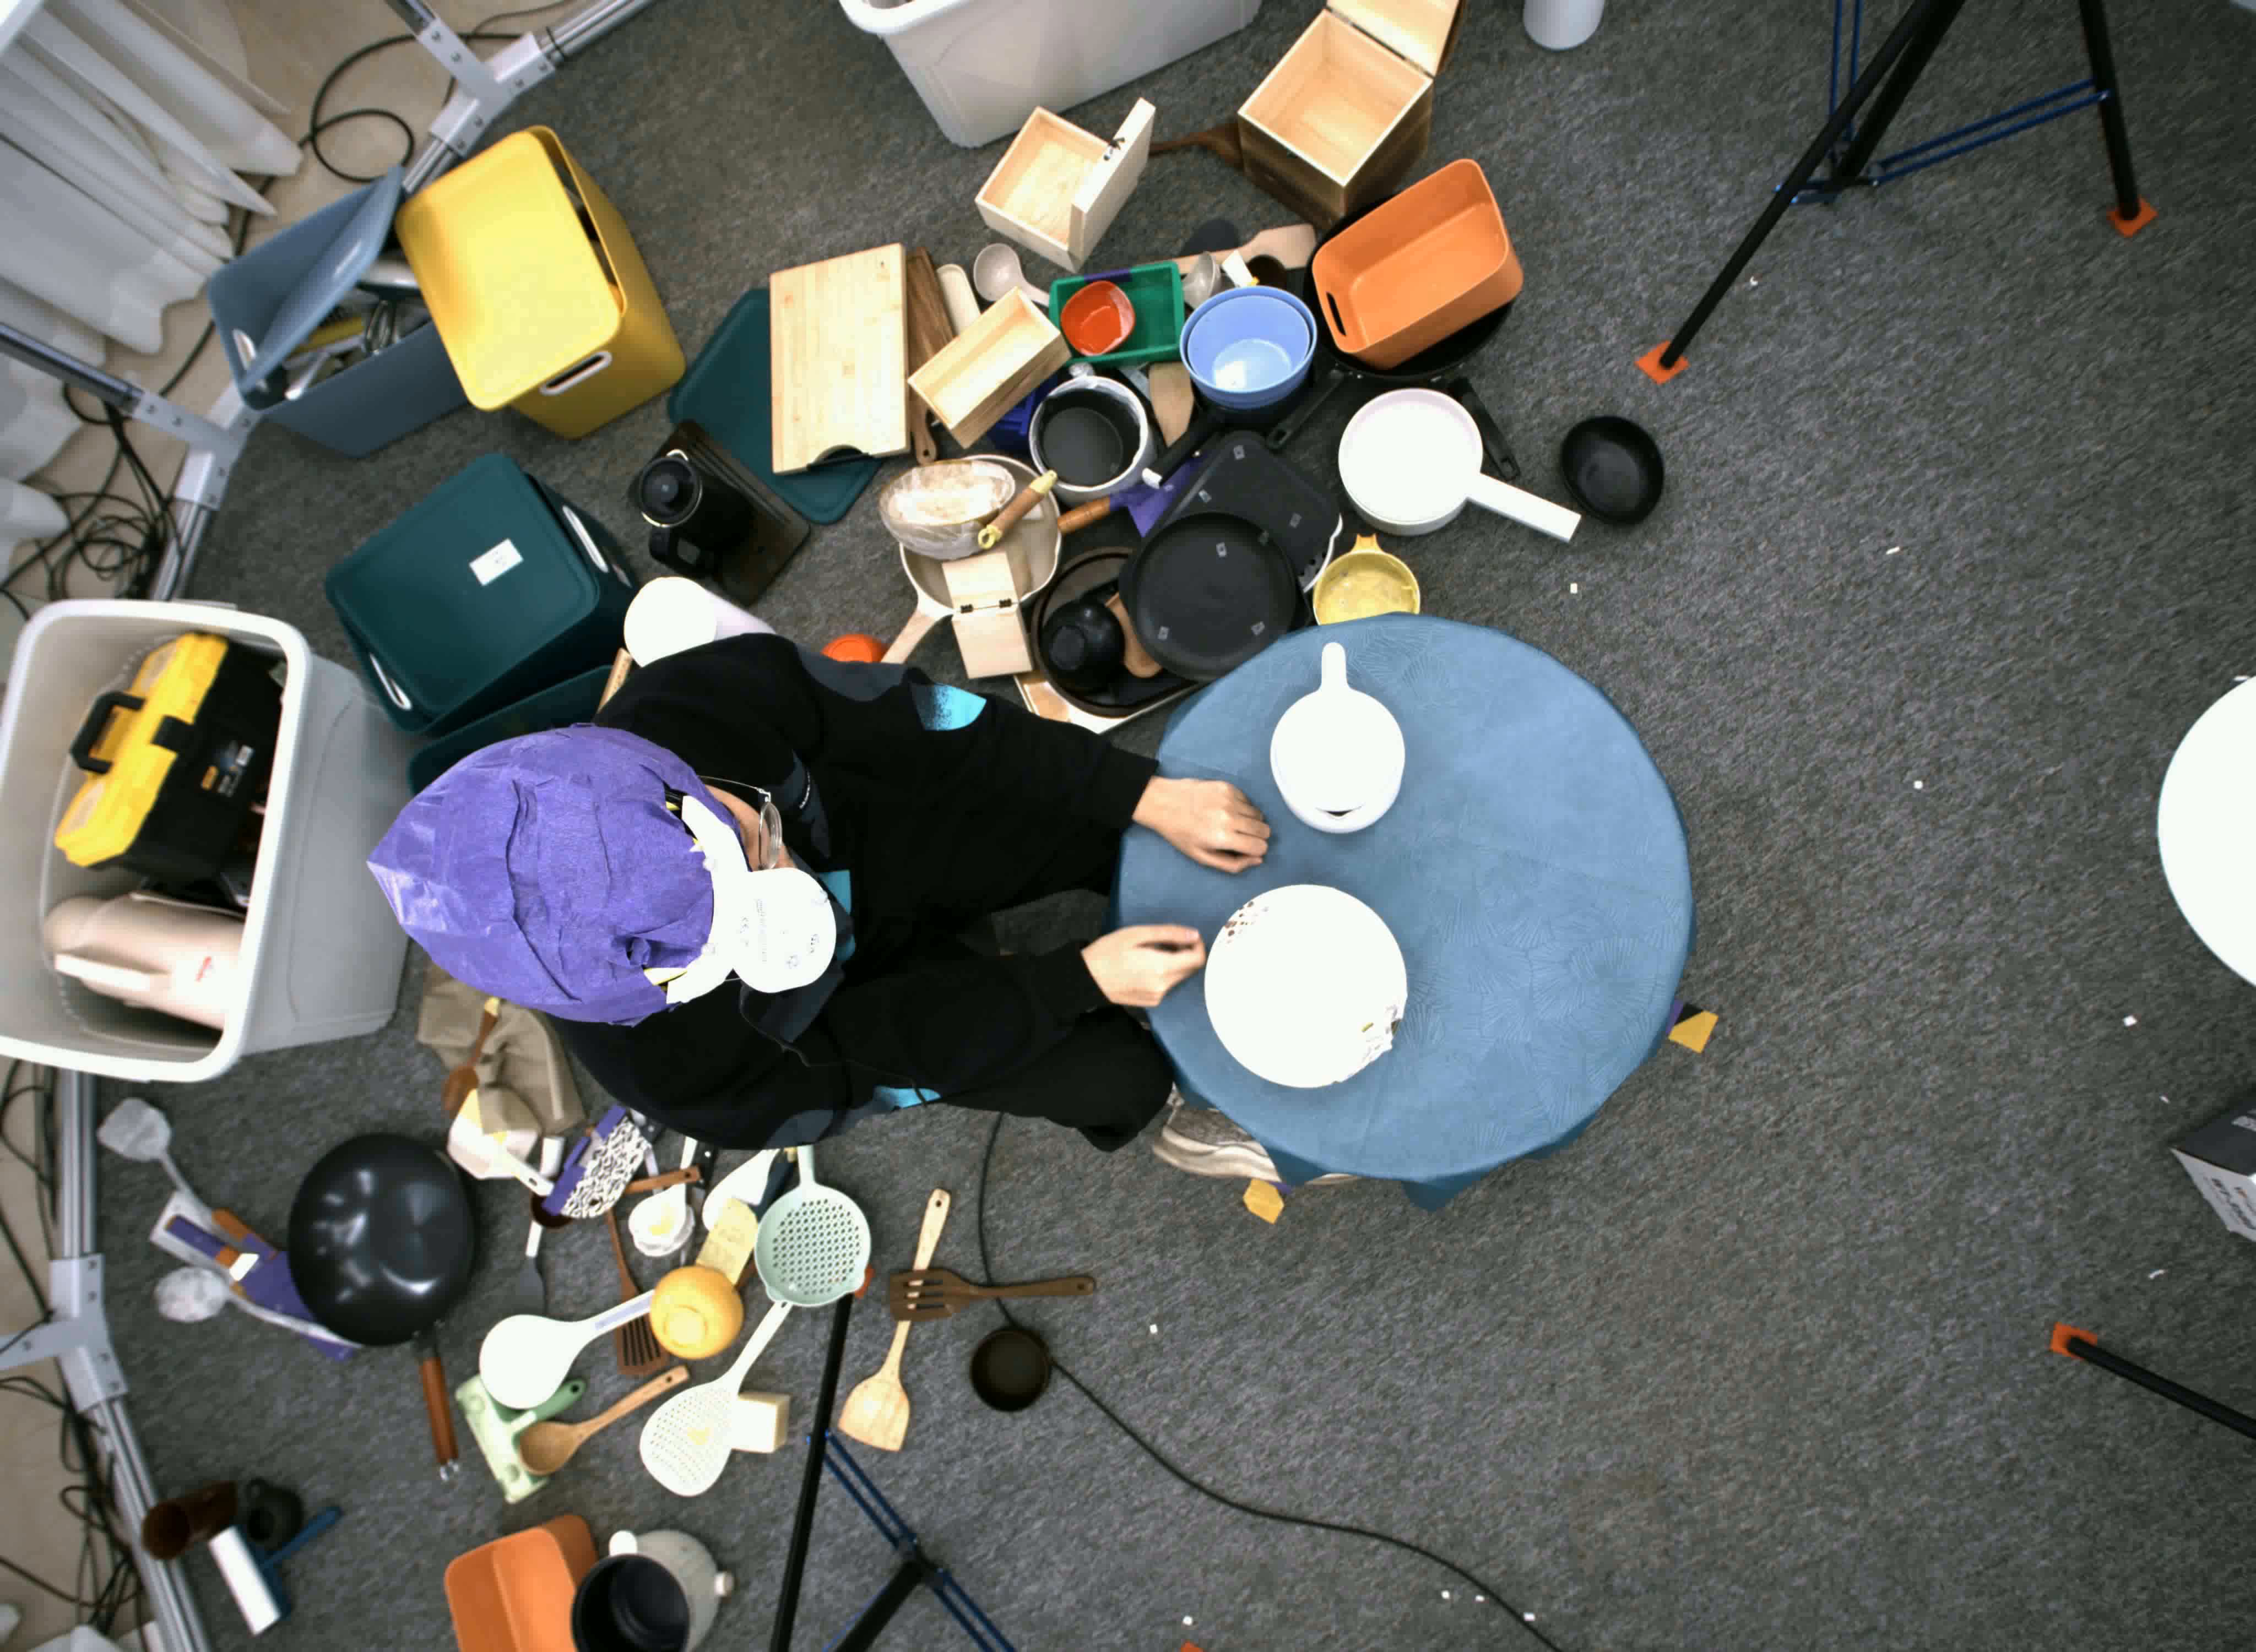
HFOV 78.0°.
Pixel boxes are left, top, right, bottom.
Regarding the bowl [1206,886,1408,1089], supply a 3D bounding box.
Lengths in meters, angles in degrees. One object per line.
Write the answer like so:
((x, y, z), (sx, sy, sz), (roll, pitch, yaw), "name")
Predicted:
((0.186, 0.165, 1.428), (0.205, 0.078, 0.203), (-1, 86, 13), "bowl")

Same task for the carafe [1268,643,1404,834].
((0.208, -0.089, 1.389), (0.133, 0.183, 0.190), (-4, 83, 8), "carafe")
